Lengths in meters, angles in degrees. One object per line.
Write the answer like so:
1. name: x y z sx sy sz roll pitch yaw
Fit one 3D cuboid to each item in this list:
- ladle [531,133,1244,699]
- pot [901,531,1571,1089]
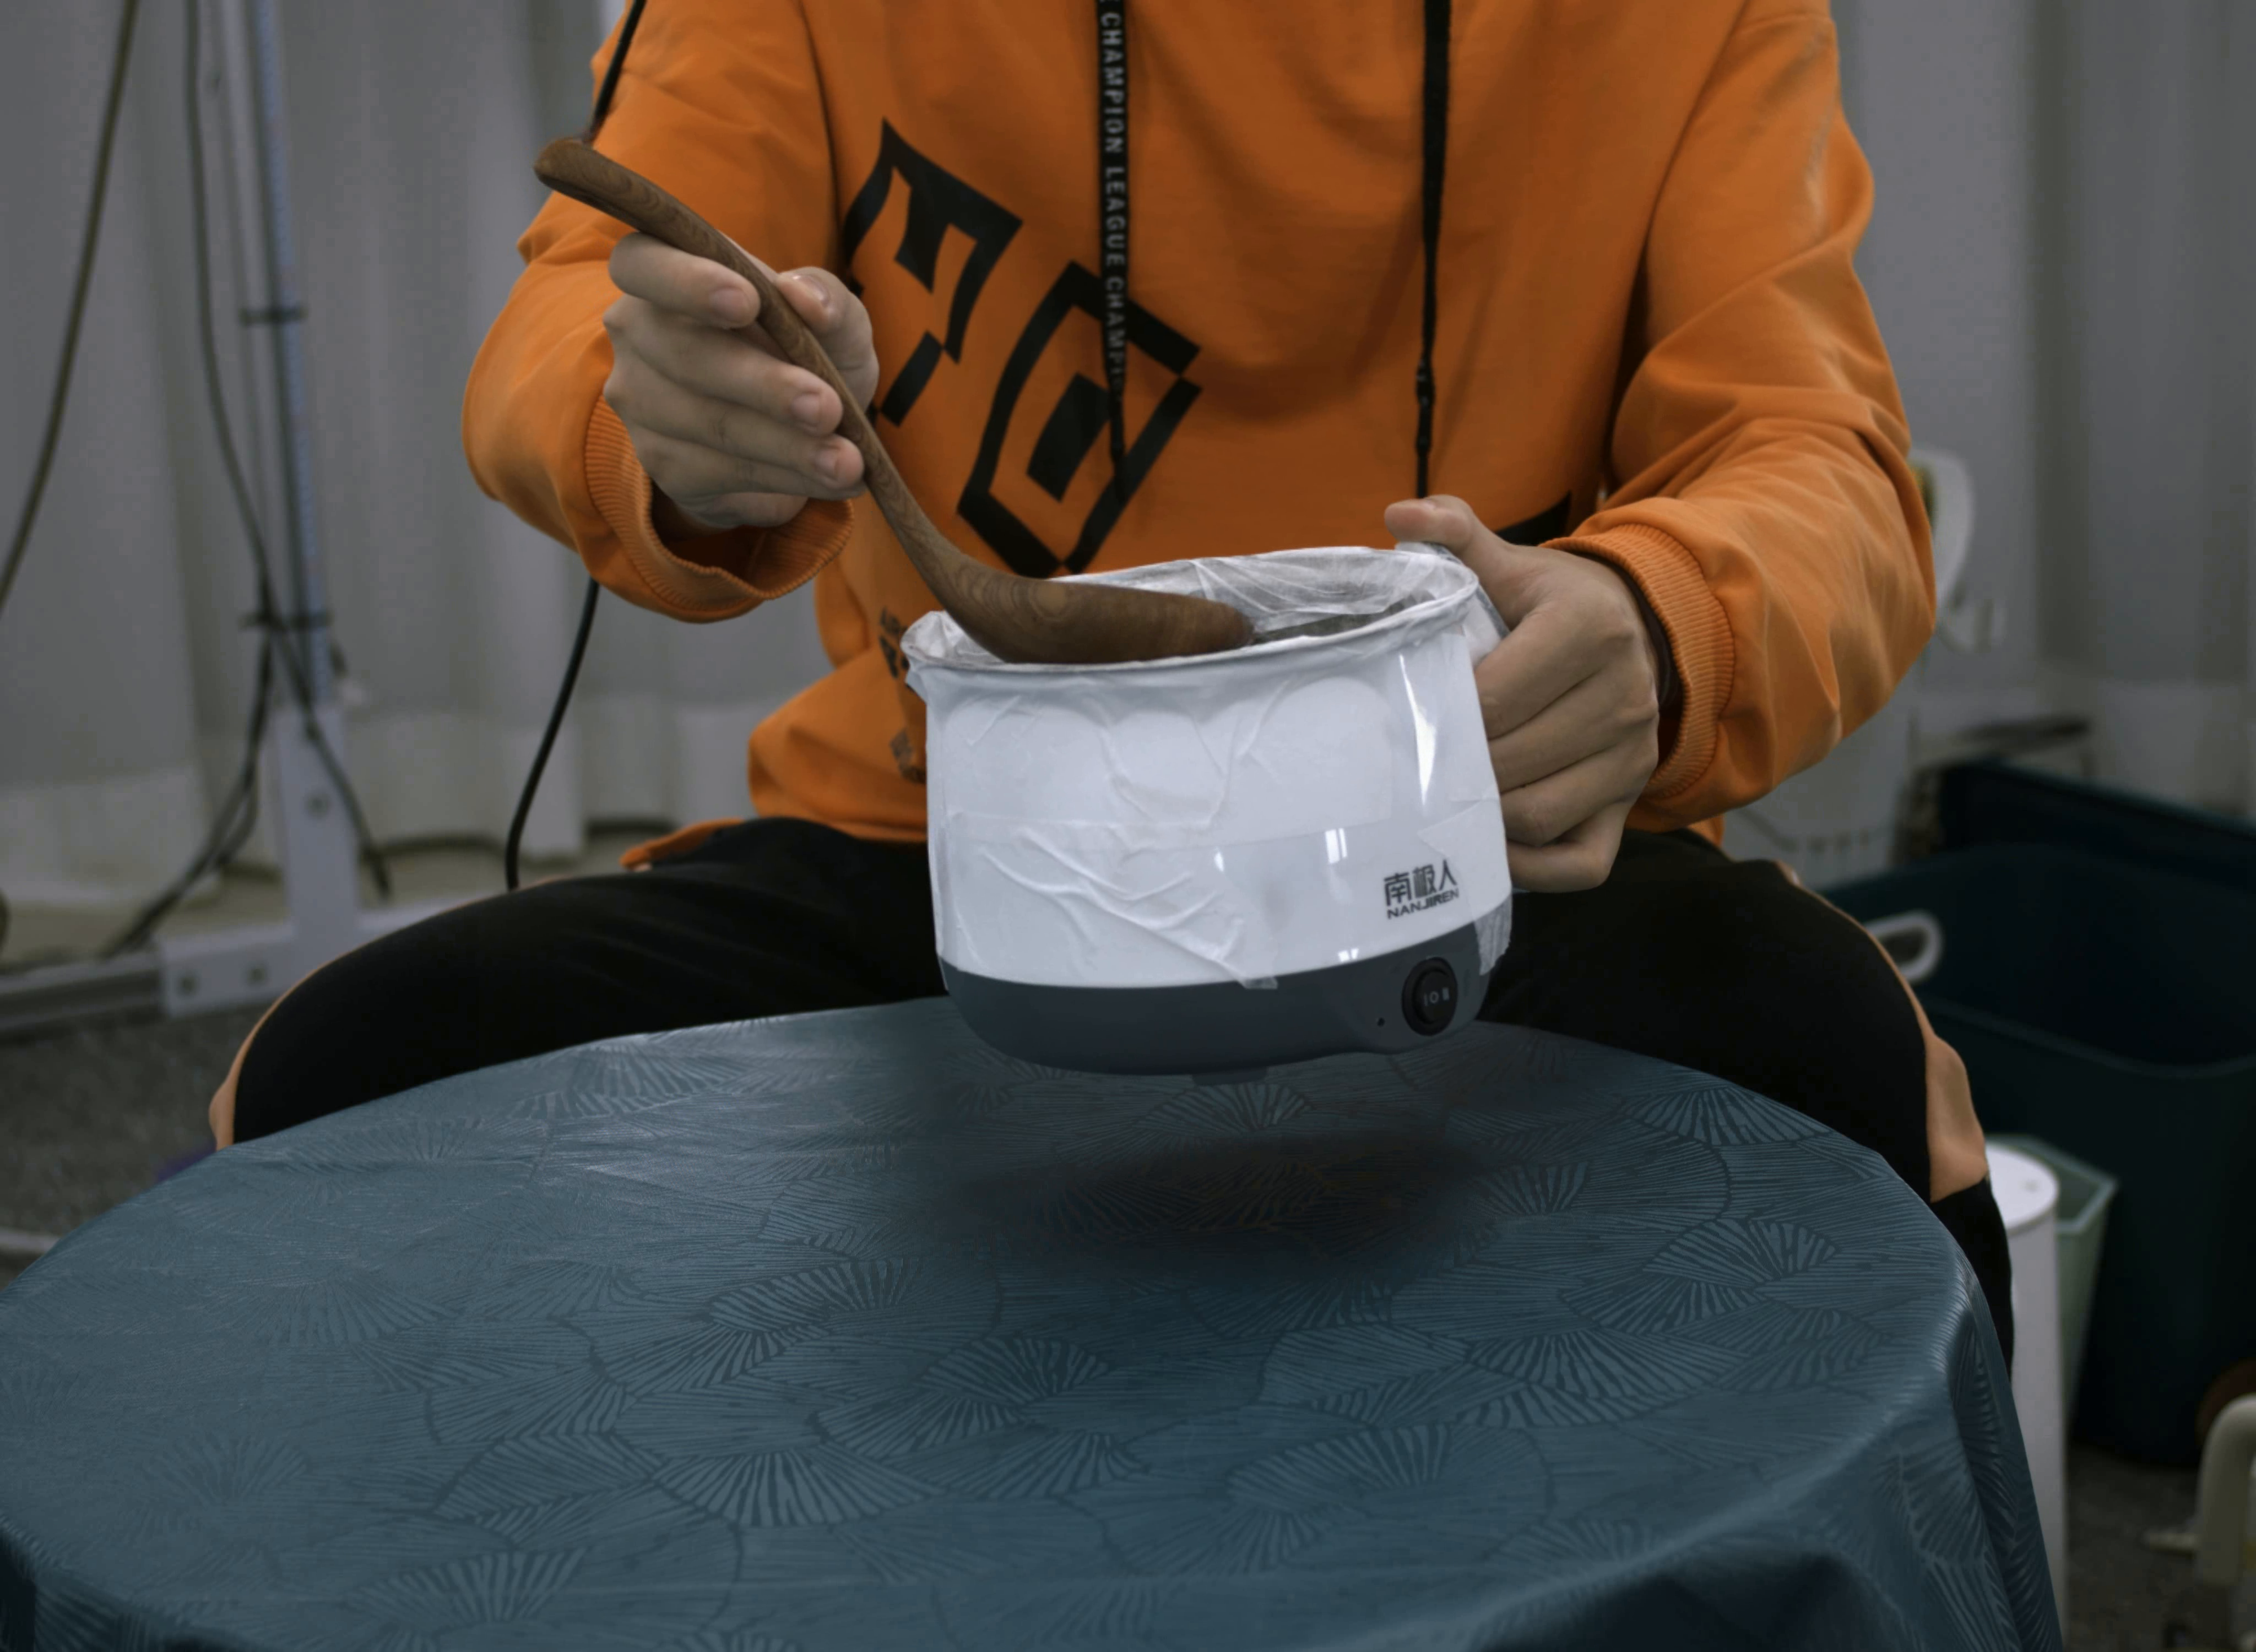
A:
1. ladle: -0.071 -0.128 1.625 0.065 0.261 0.076 -41 -10 -9
2. pot: 0.045 -0.011 1.687 0.233 0.136 0.179 -17 16 -42
